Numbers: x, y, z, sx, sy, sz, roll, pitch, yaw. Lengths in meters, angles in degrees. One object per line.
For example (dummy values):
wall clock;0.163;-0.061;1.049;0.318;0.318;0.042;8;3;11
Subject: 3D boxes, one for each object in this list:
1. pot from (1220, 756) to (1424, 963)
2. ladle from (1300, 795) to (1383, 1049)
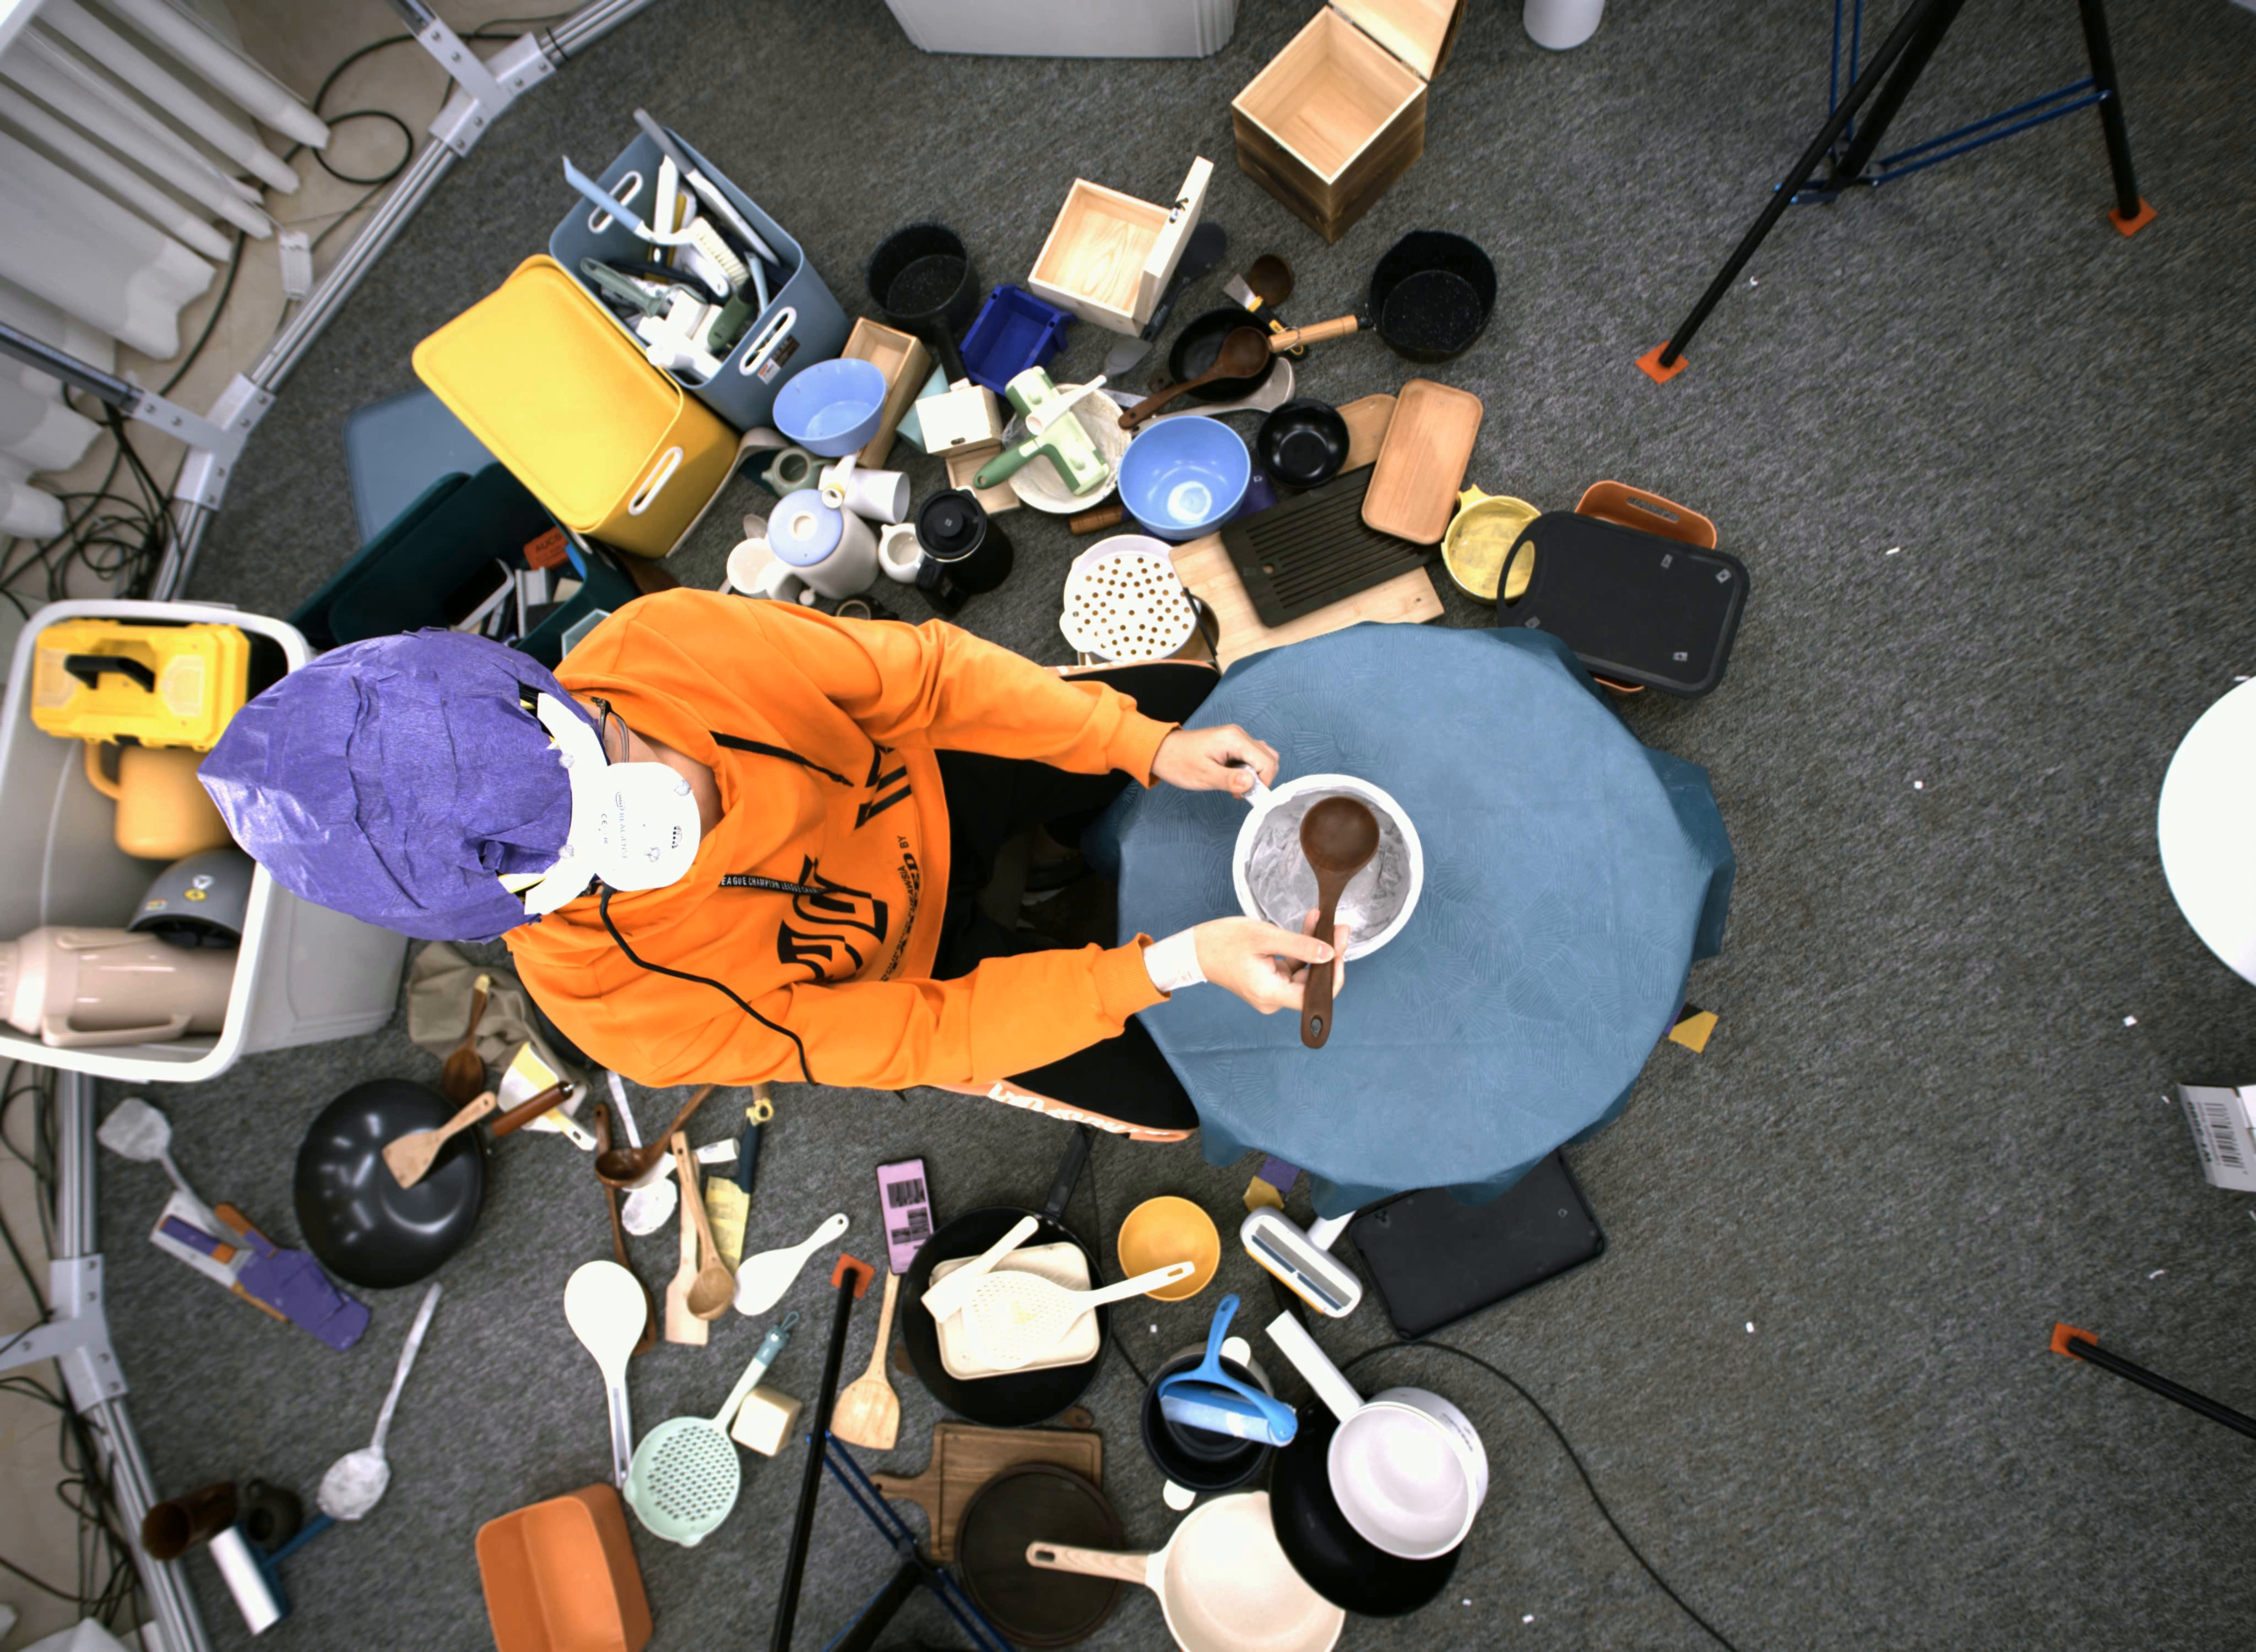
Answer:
pot;0.177;0.021;1.352;0.233;0.136;0.180;45;96;7
ladle;0.180;0.077;1.231;0.077;0.067;0.253;7;48;10
